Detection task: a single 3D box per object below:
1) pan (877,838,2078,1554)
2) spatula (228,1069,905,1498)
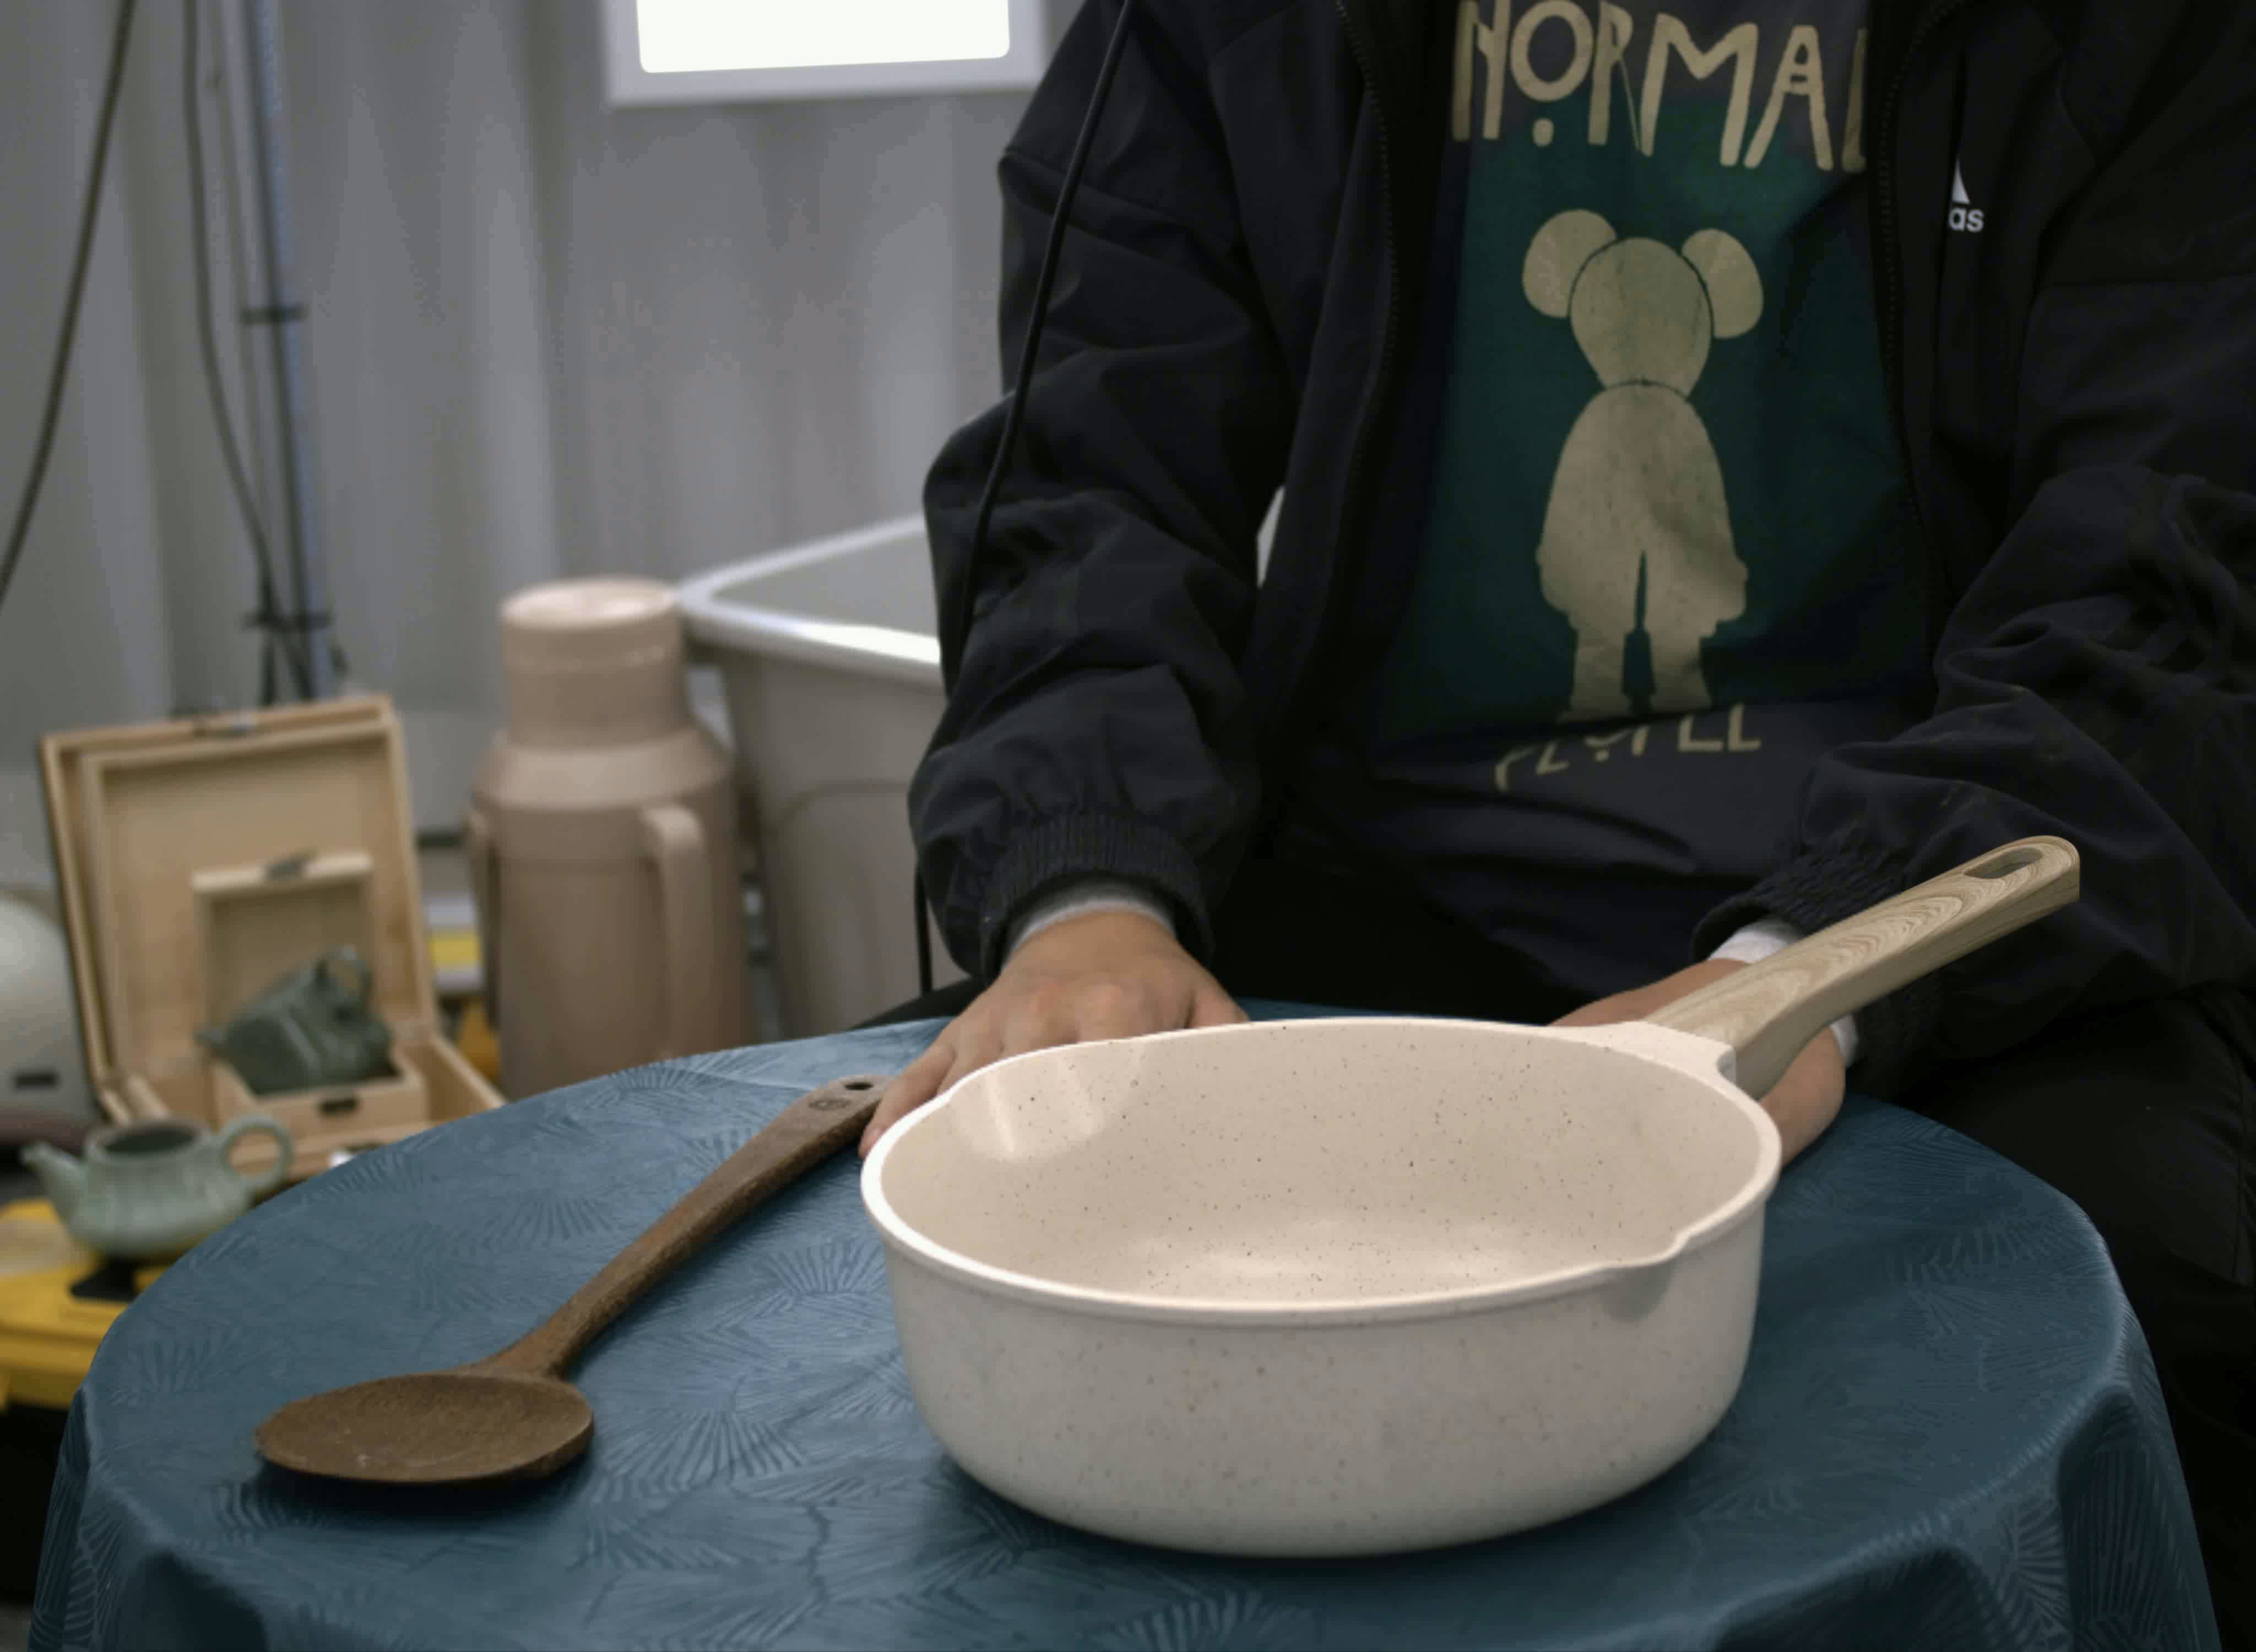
[{"bbox_3d":[0.127,0.099,1.549,0.434,0.101,0.265,-16,18,-38],"label":"pan"},{"bbox_3d":[-0.146,0.131,1.651,0.096,0.016,0.387,3,16,19],"label":"spatula"}]
